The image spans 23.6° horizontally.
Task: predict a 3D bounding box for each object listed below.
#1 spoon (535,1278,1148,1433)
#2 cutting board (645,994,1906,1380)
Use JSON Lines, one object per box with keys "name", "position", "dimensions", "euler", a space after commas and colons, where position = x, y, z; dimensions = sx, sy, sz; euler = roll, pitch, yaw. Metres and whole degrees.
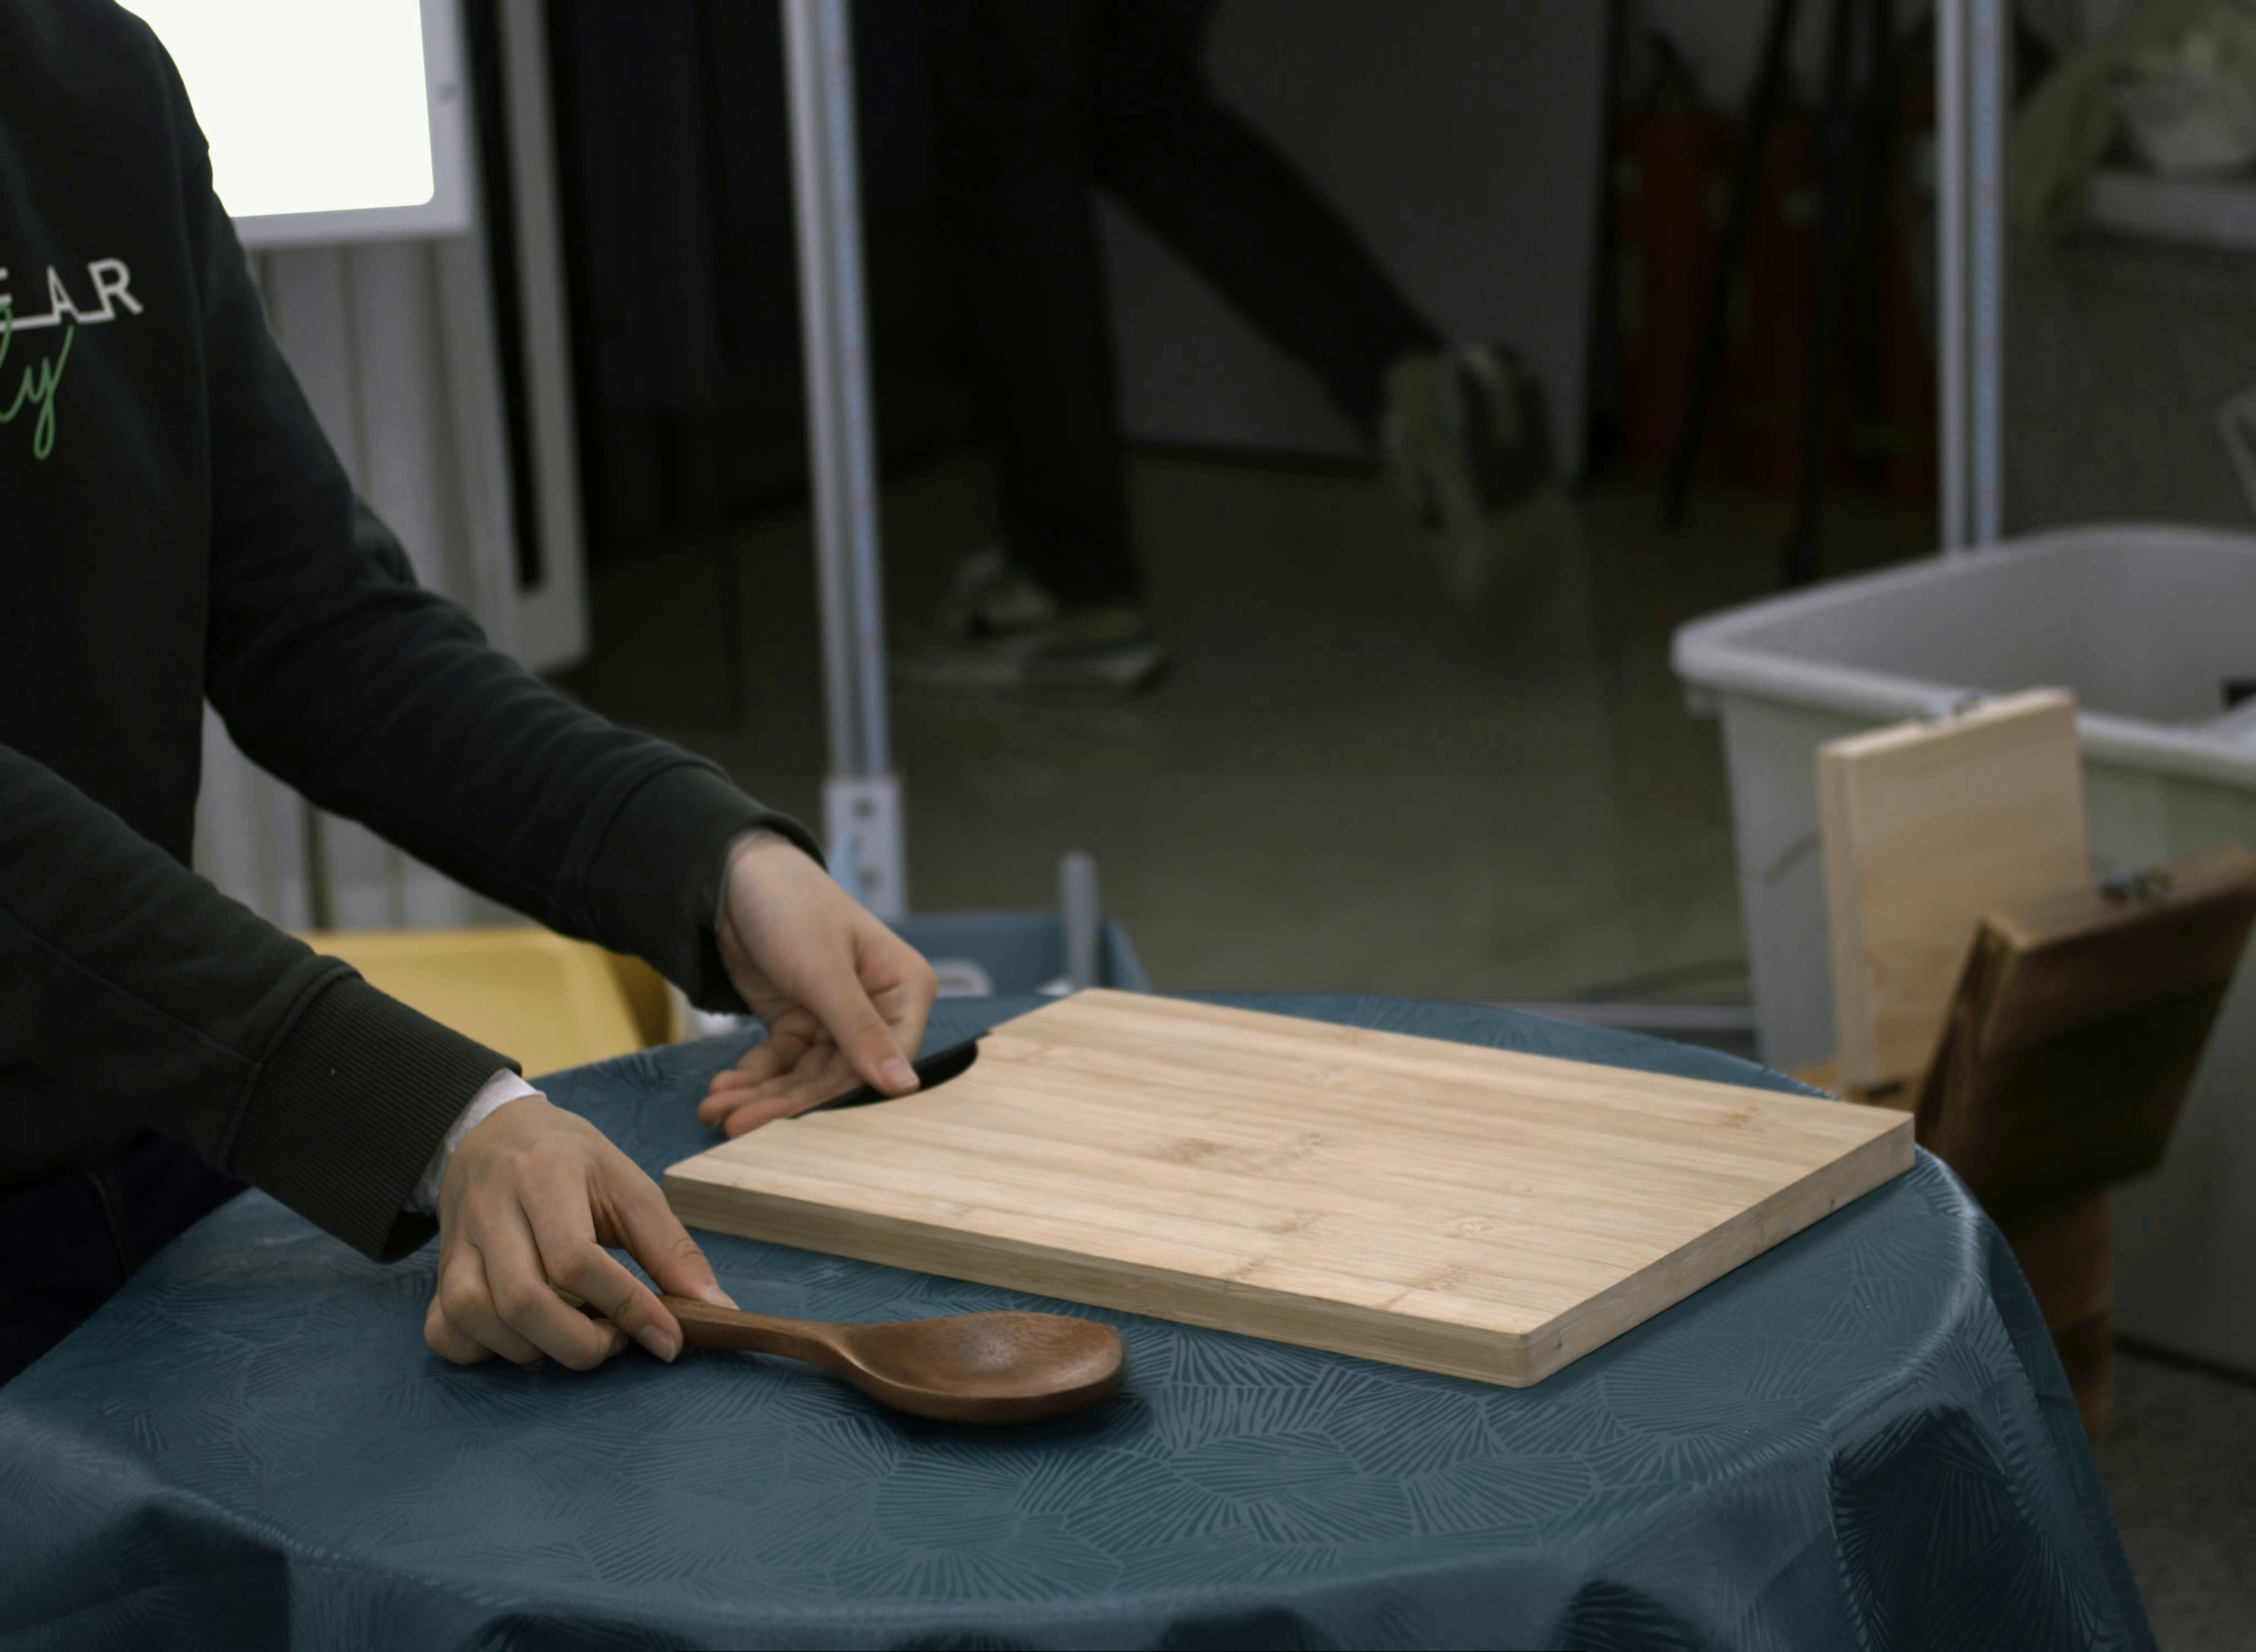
{"name": "spoon", "position": [-0.089, 0.157, 1.617], "dimensions": [0.217, 0.017, 0.074], "euler": [6, 19, 33]}
{"name": "cutting board", "position": [0.047, 0.112, 1.760], "dimensions": [0.351, 0.024, 0.246], "euler": [6, 17, 37]}
